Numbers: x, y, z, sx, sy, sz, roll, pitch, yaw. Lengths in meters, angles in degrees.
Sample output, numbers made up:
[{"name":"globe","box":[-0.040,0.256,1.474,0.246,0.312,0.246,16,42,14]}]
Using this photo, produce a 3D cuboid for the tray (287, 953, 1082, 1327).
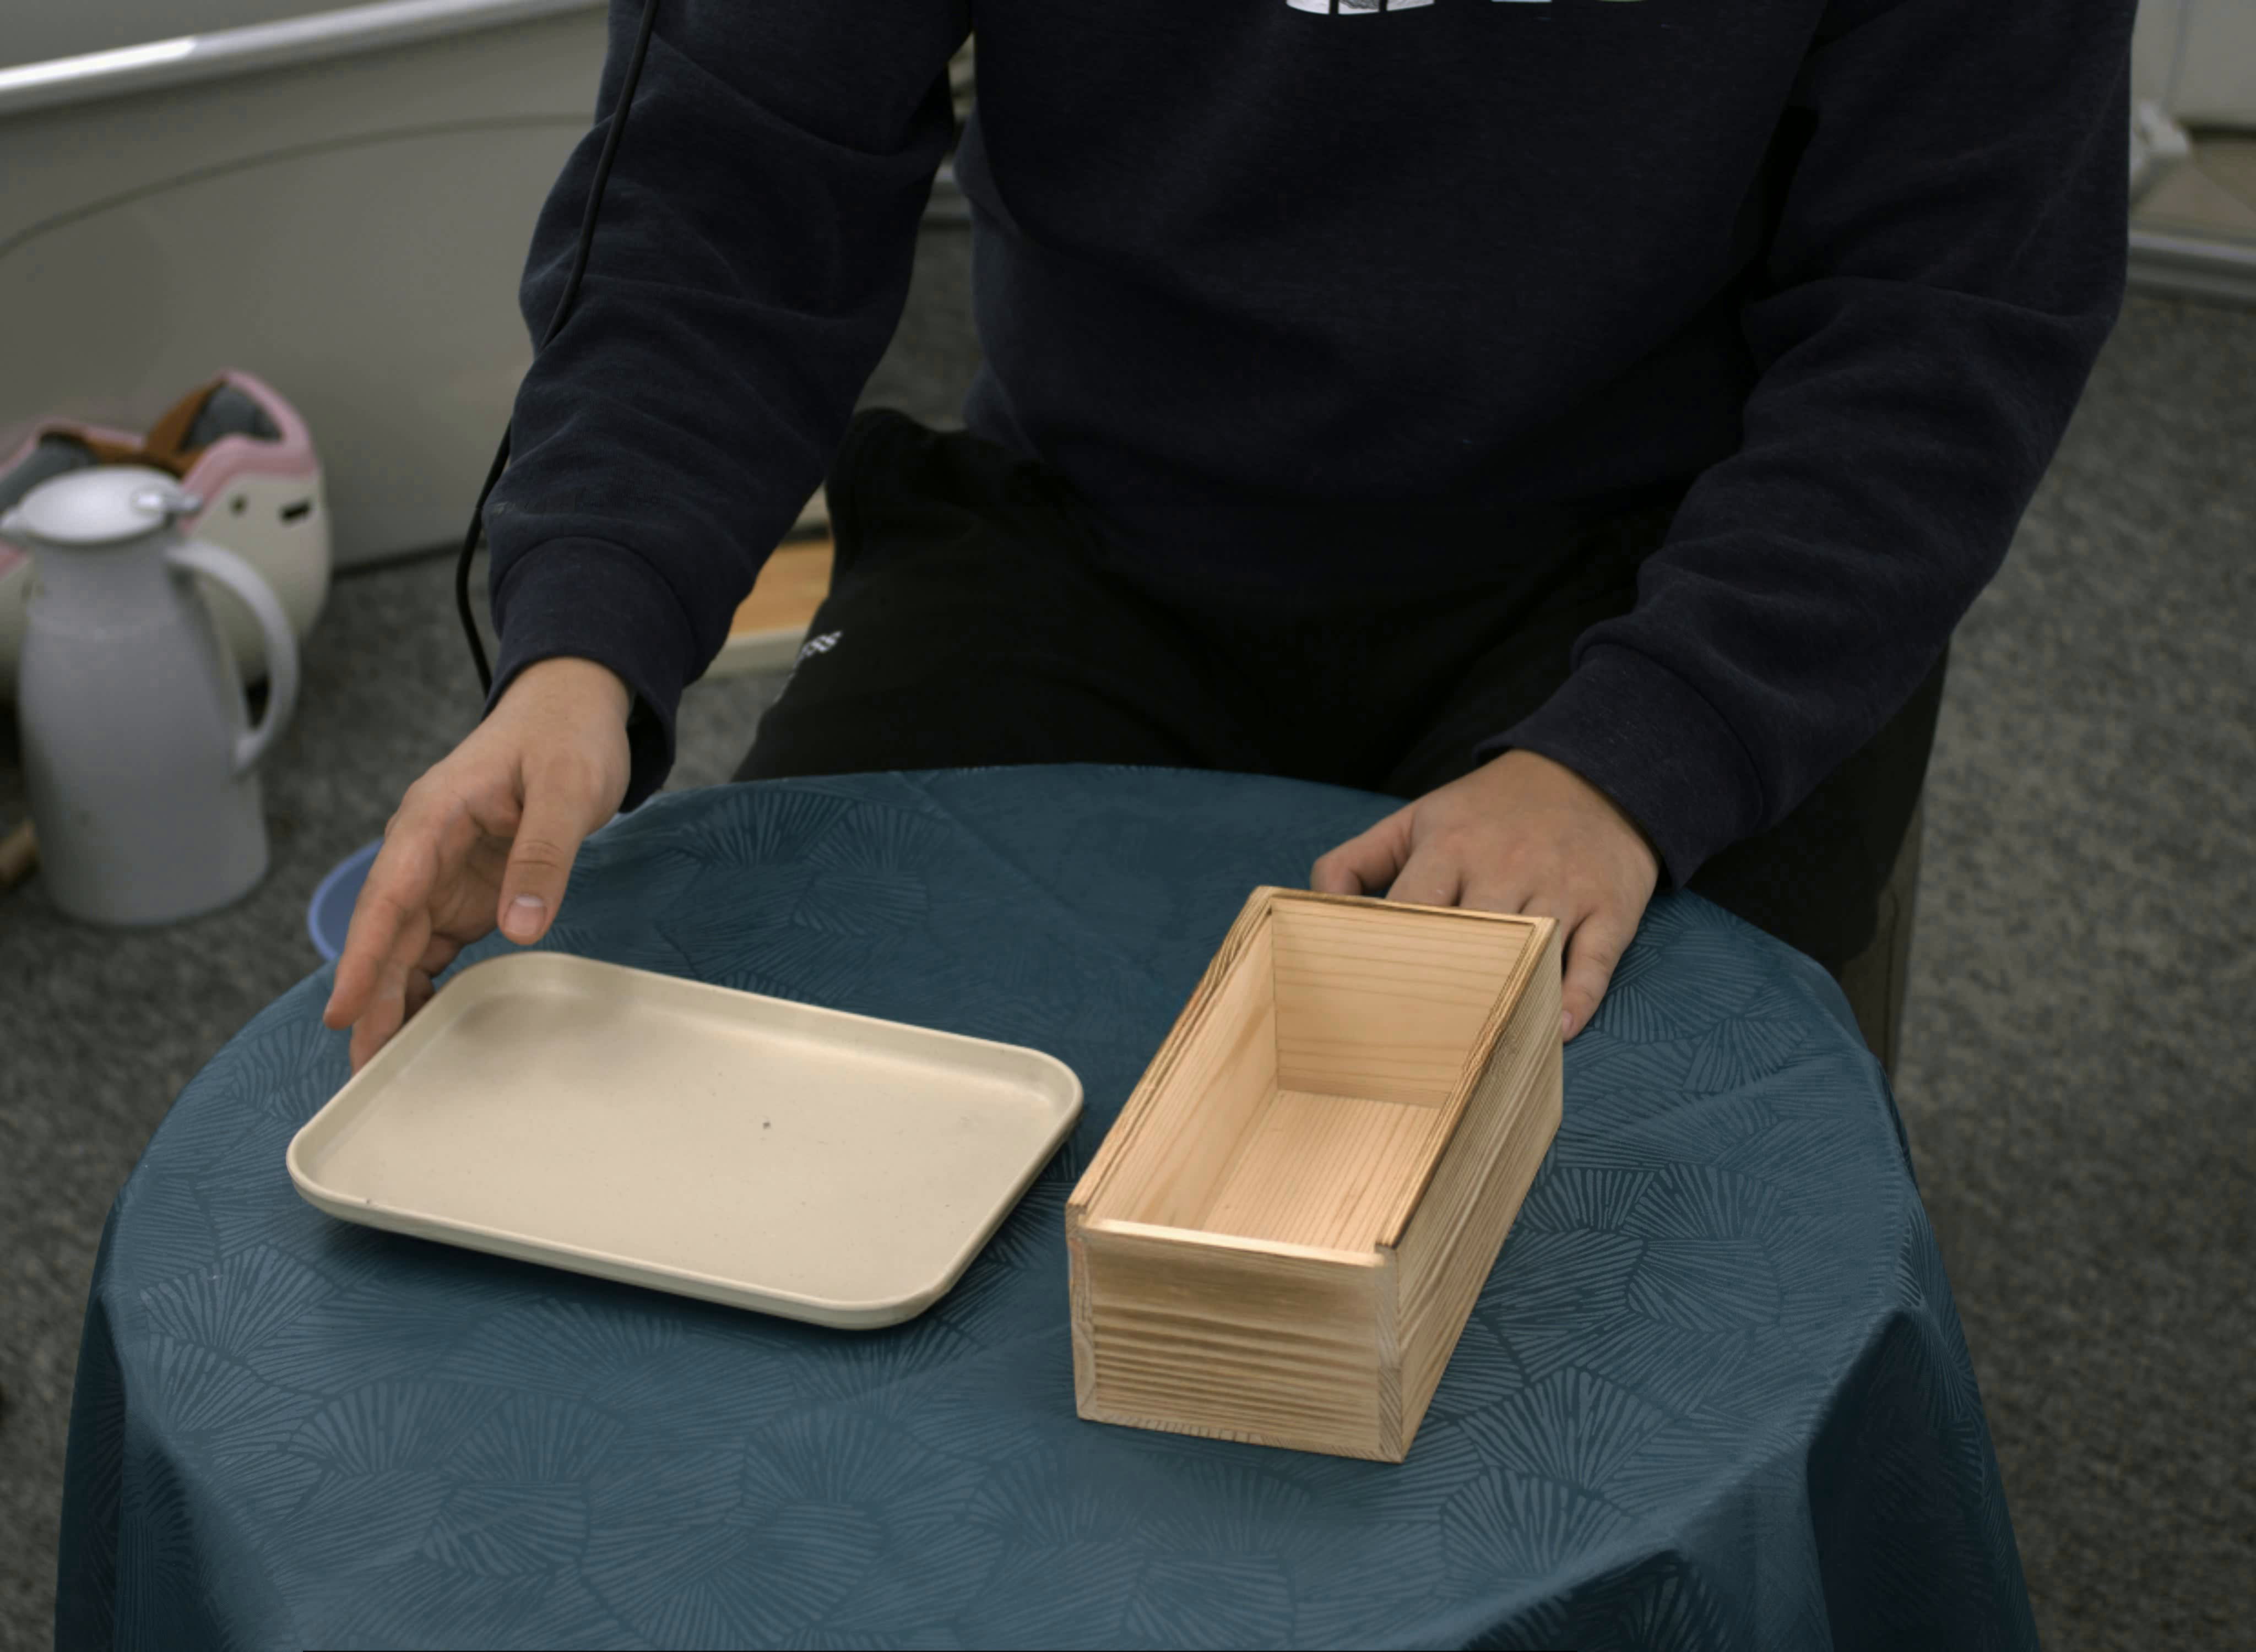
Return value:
[{"name":"tray","box":[-0.147,0.105,1.882,0.238,0.017,0.174,10,30,19]}]

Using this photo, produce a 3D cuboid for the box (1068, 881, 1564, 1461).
[{"name":"box","box":[0.064,0.107,1.802,0.107,0.079,0.215,6,28,16]}]
